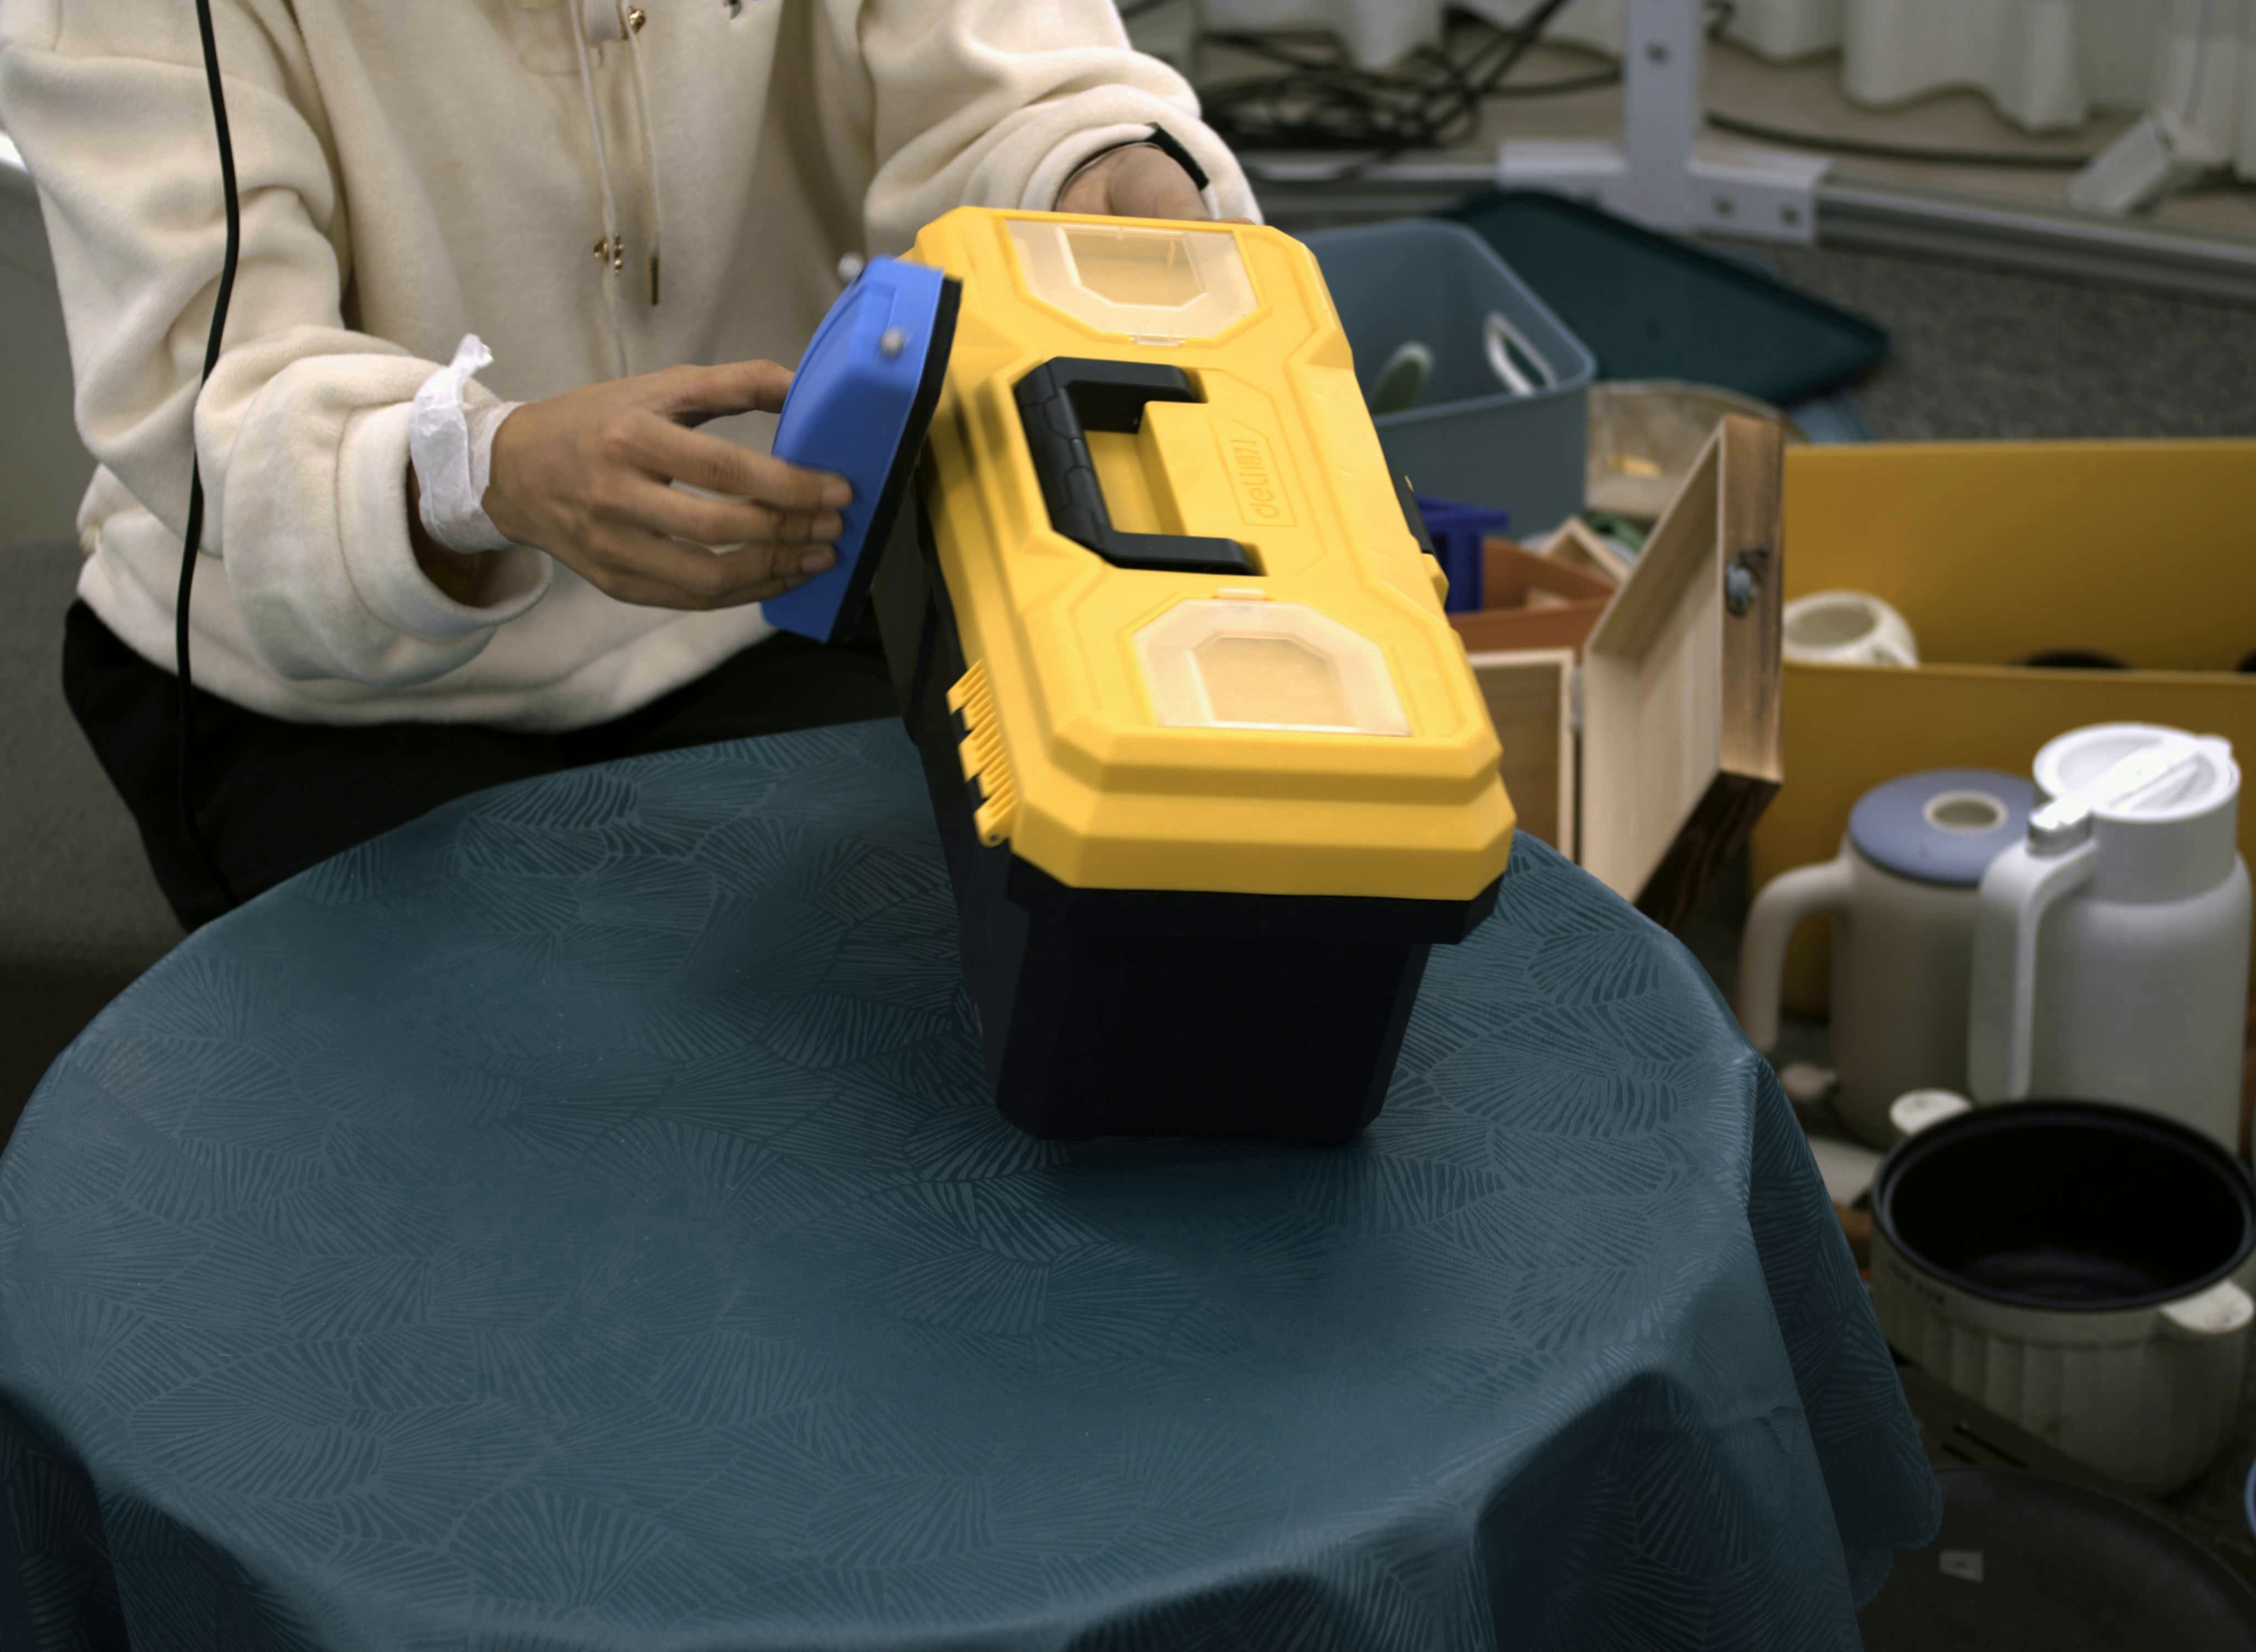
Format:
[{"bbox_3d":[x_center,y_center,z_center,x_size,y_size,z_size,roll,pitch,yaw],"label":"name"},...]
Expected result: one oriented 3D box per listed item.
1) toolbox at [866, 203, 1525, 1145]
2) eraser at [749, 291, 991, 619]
[{"bbox_3d":[0.009,-0.056,1.942,0.181,0.170,0.357,3,36,-14],"label":"toolbox"},{"bbox_3d":[-0.094,-0.125,1.913,0.047,0.159,0.055,13,64,-17],"label":"eraser"}]
